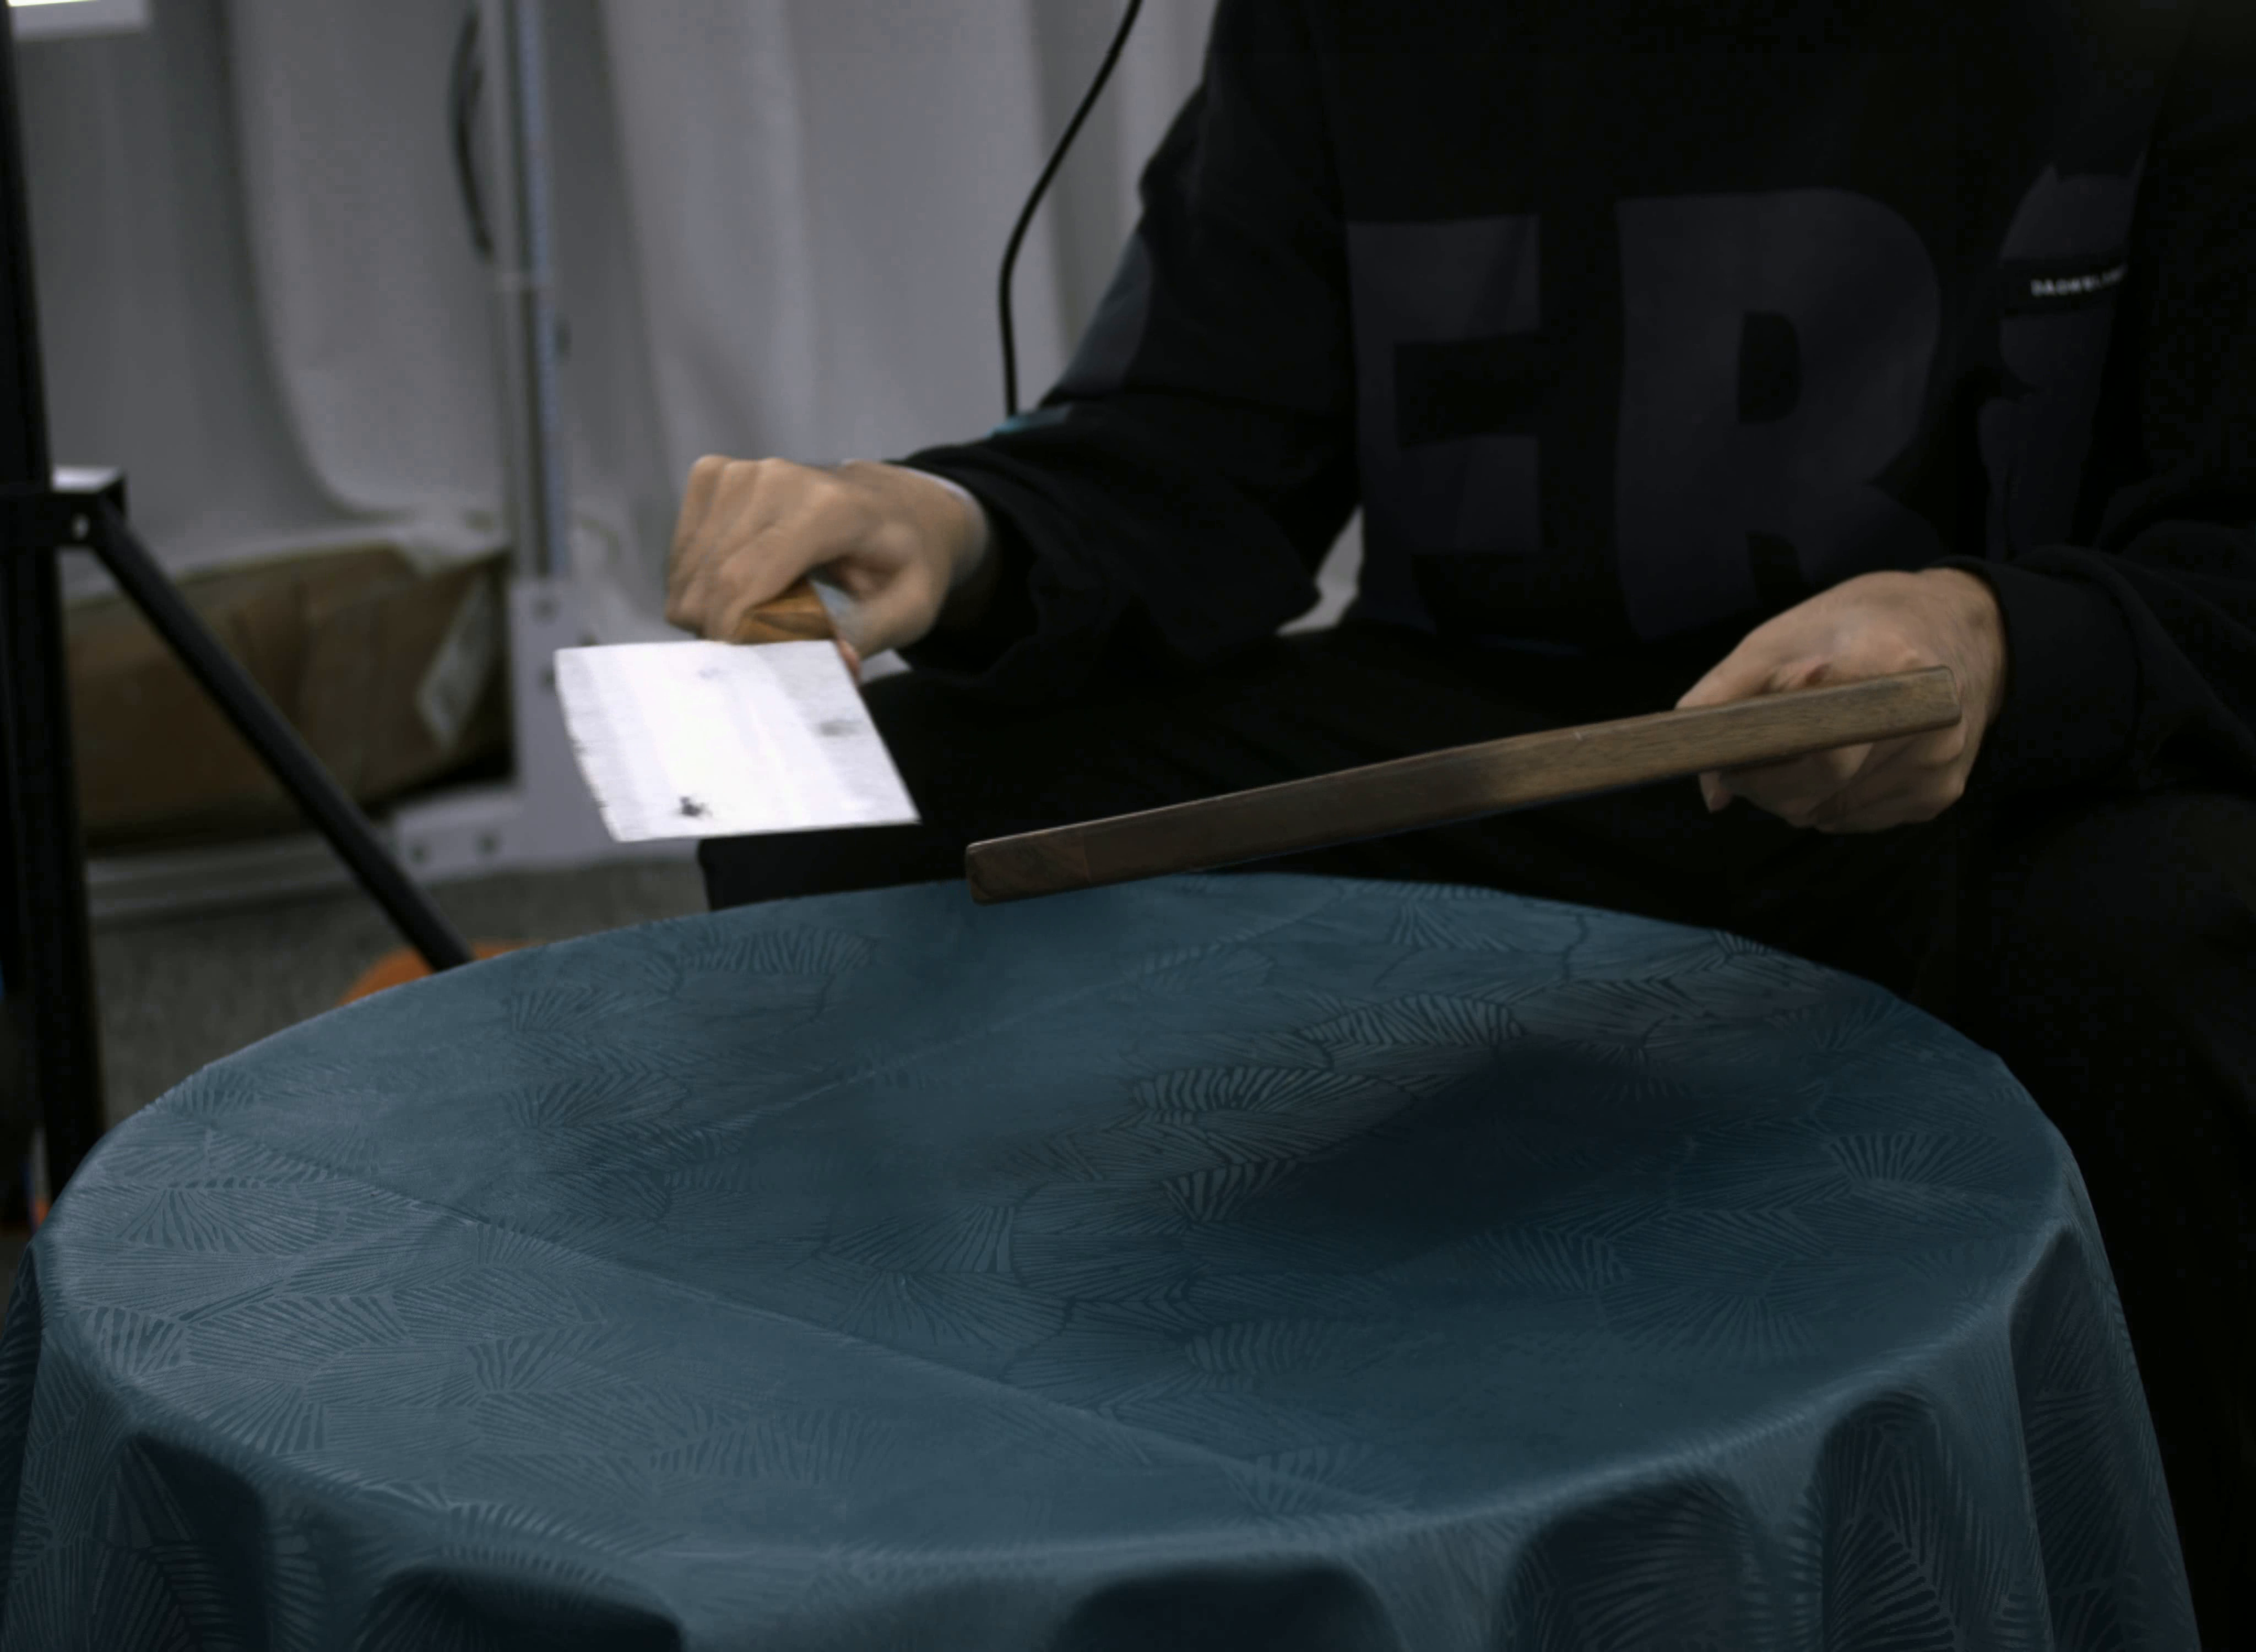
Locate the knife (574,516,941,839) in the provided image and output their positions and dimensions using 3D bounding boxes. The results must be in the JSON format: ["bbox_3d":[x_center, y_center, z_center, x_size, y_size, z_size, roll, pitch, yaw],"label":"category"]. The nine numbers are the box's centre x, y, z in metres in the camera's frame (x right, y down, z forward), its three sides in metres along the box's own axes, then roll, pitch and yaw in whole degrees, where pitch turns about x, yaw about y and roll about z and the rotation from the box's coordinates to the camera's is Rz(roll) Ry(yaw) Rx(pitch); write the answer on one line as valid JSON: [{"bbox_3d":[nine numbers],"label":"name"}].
[{"bbox_3d":[-0.127,-0.048,1.689,0.092,0.021,0.310,-4,19,-11],"label":"knife"}]

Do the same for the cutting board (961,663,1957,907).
[{"bbox_3d":[0.130,-0.017,1.591,0.205,0.023,0.343,-12,-2,39],"label":"cutting board"}]
